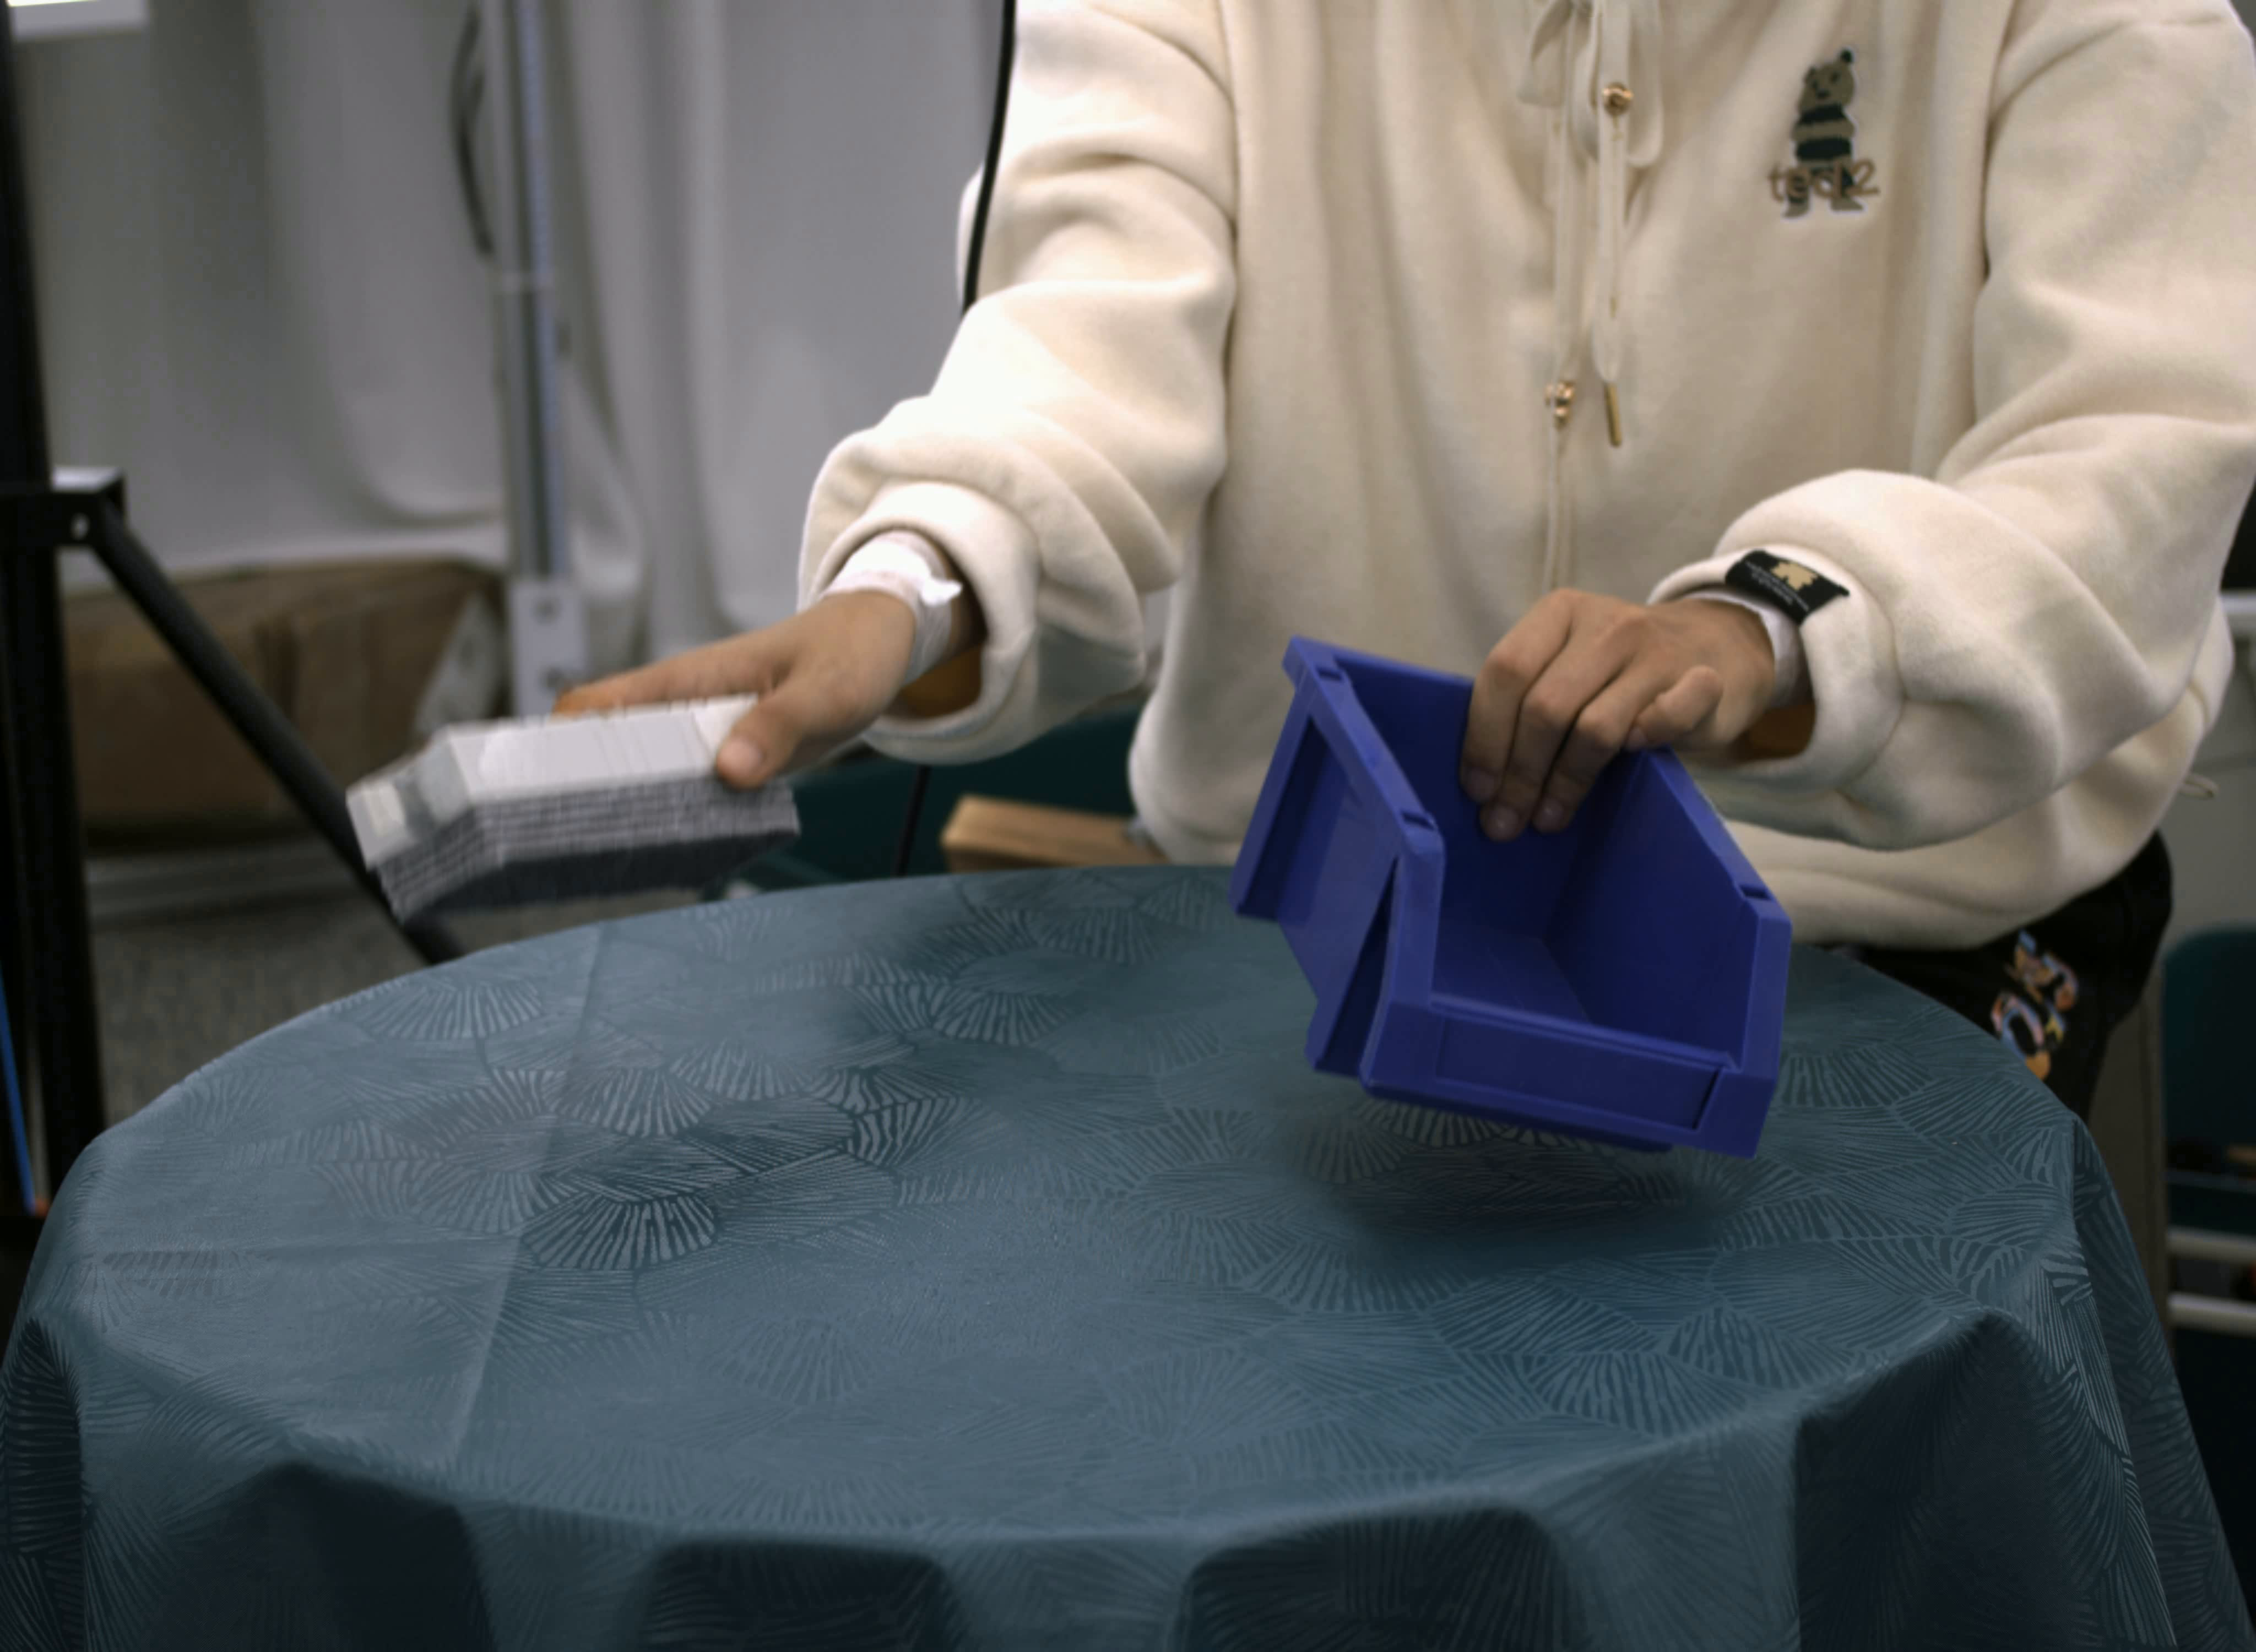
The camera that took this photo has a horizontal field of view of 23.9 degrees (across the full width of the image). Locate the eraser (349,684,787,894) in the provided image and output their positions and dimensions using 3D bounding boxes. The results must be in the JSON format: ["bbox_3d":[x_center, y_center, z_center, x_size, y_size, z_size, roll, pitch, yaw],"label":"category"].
[{"bbox_3d":[-0.161,-0.012,1.570,0.050,0.047,0.131,-32,-15,33],"label":"eraser"}]

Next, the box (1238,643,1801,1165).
[{"bbox_3d":[0.115,0.028,1.545,0.122,0.082,0.182,14,19,-16],"label":"box"}]
